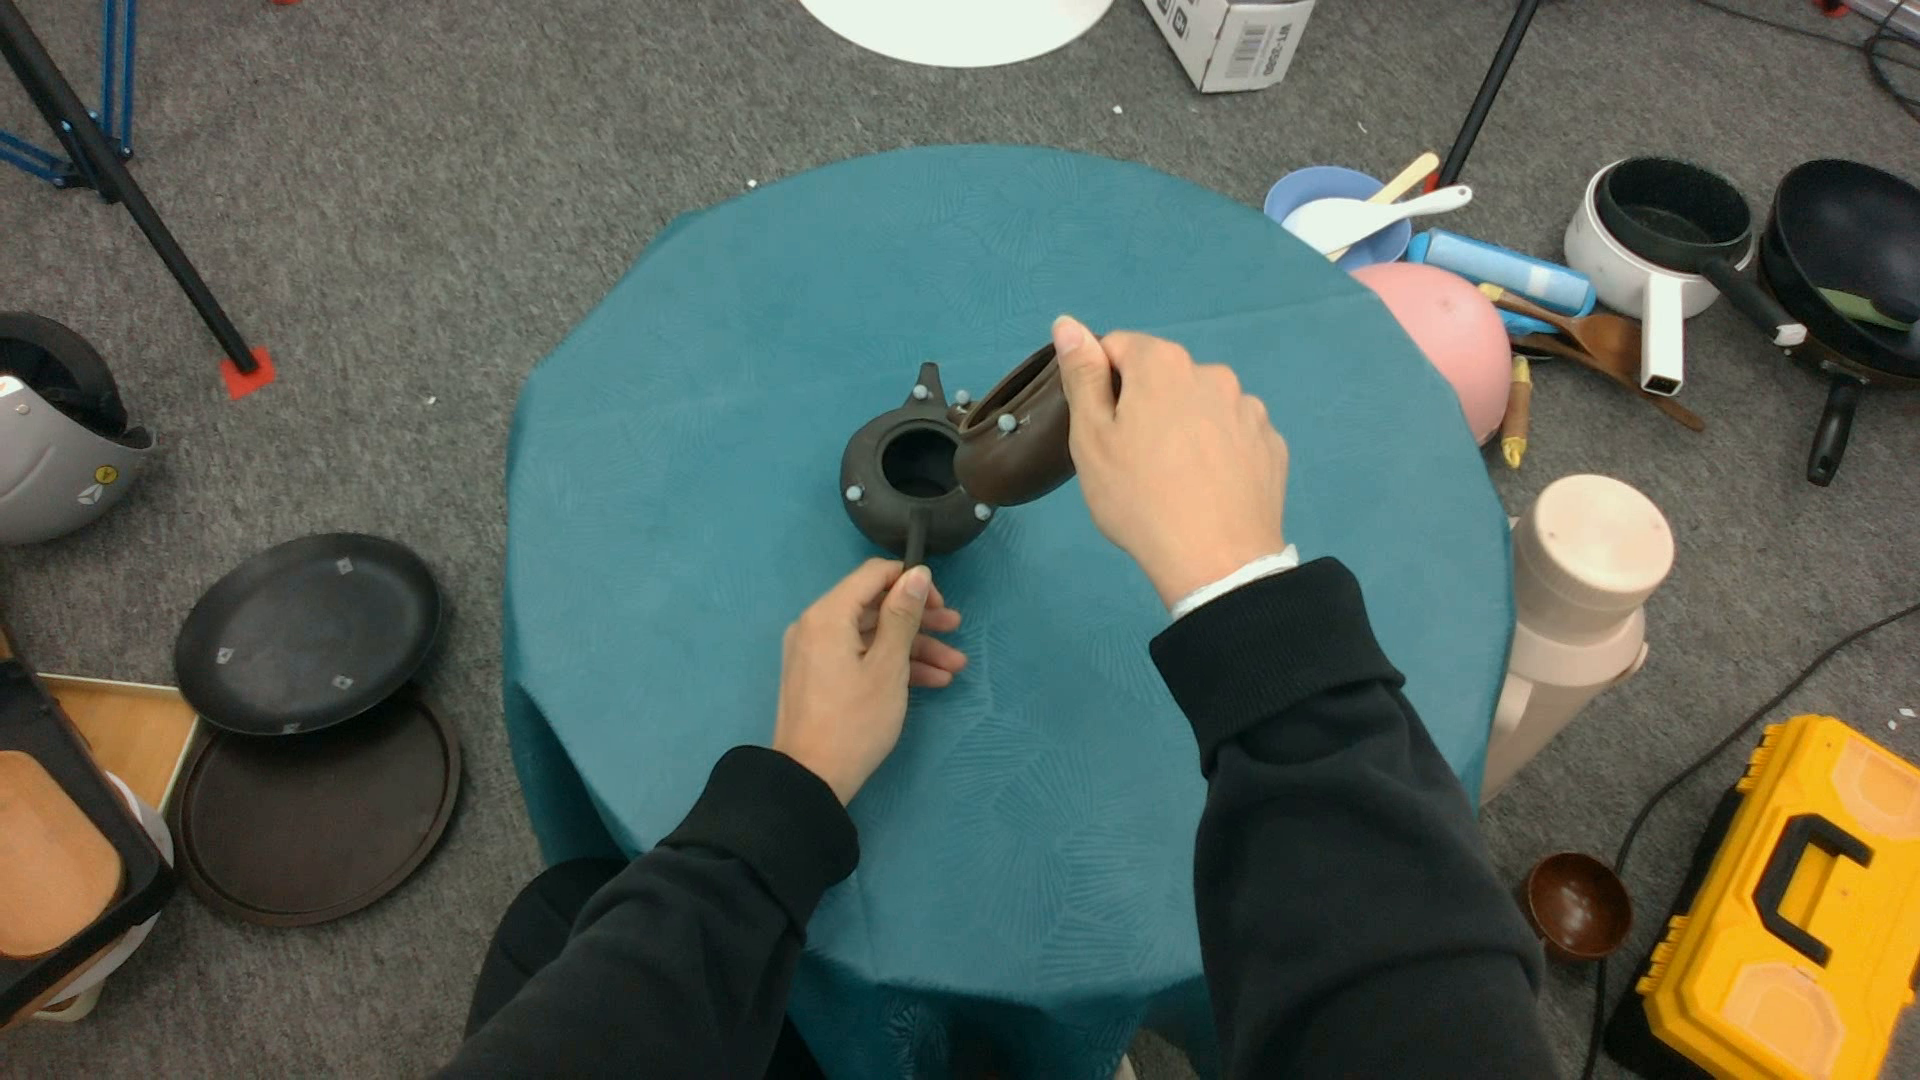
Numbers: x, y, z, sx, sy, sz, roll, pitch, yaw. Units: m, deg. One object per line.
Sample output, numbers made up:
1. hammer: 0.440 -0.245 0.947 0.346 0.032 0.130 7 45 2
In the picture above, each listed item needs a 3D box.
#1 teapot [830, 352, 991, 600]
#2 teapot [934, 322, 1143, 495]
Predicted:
1. teapot: -0.028 -0.035 0.779 0.092 0.064 0.155 5 59 -2
2. teapot: 0.038 -0.066 0.662 0.054 0.153 0.103 47 62 -13
